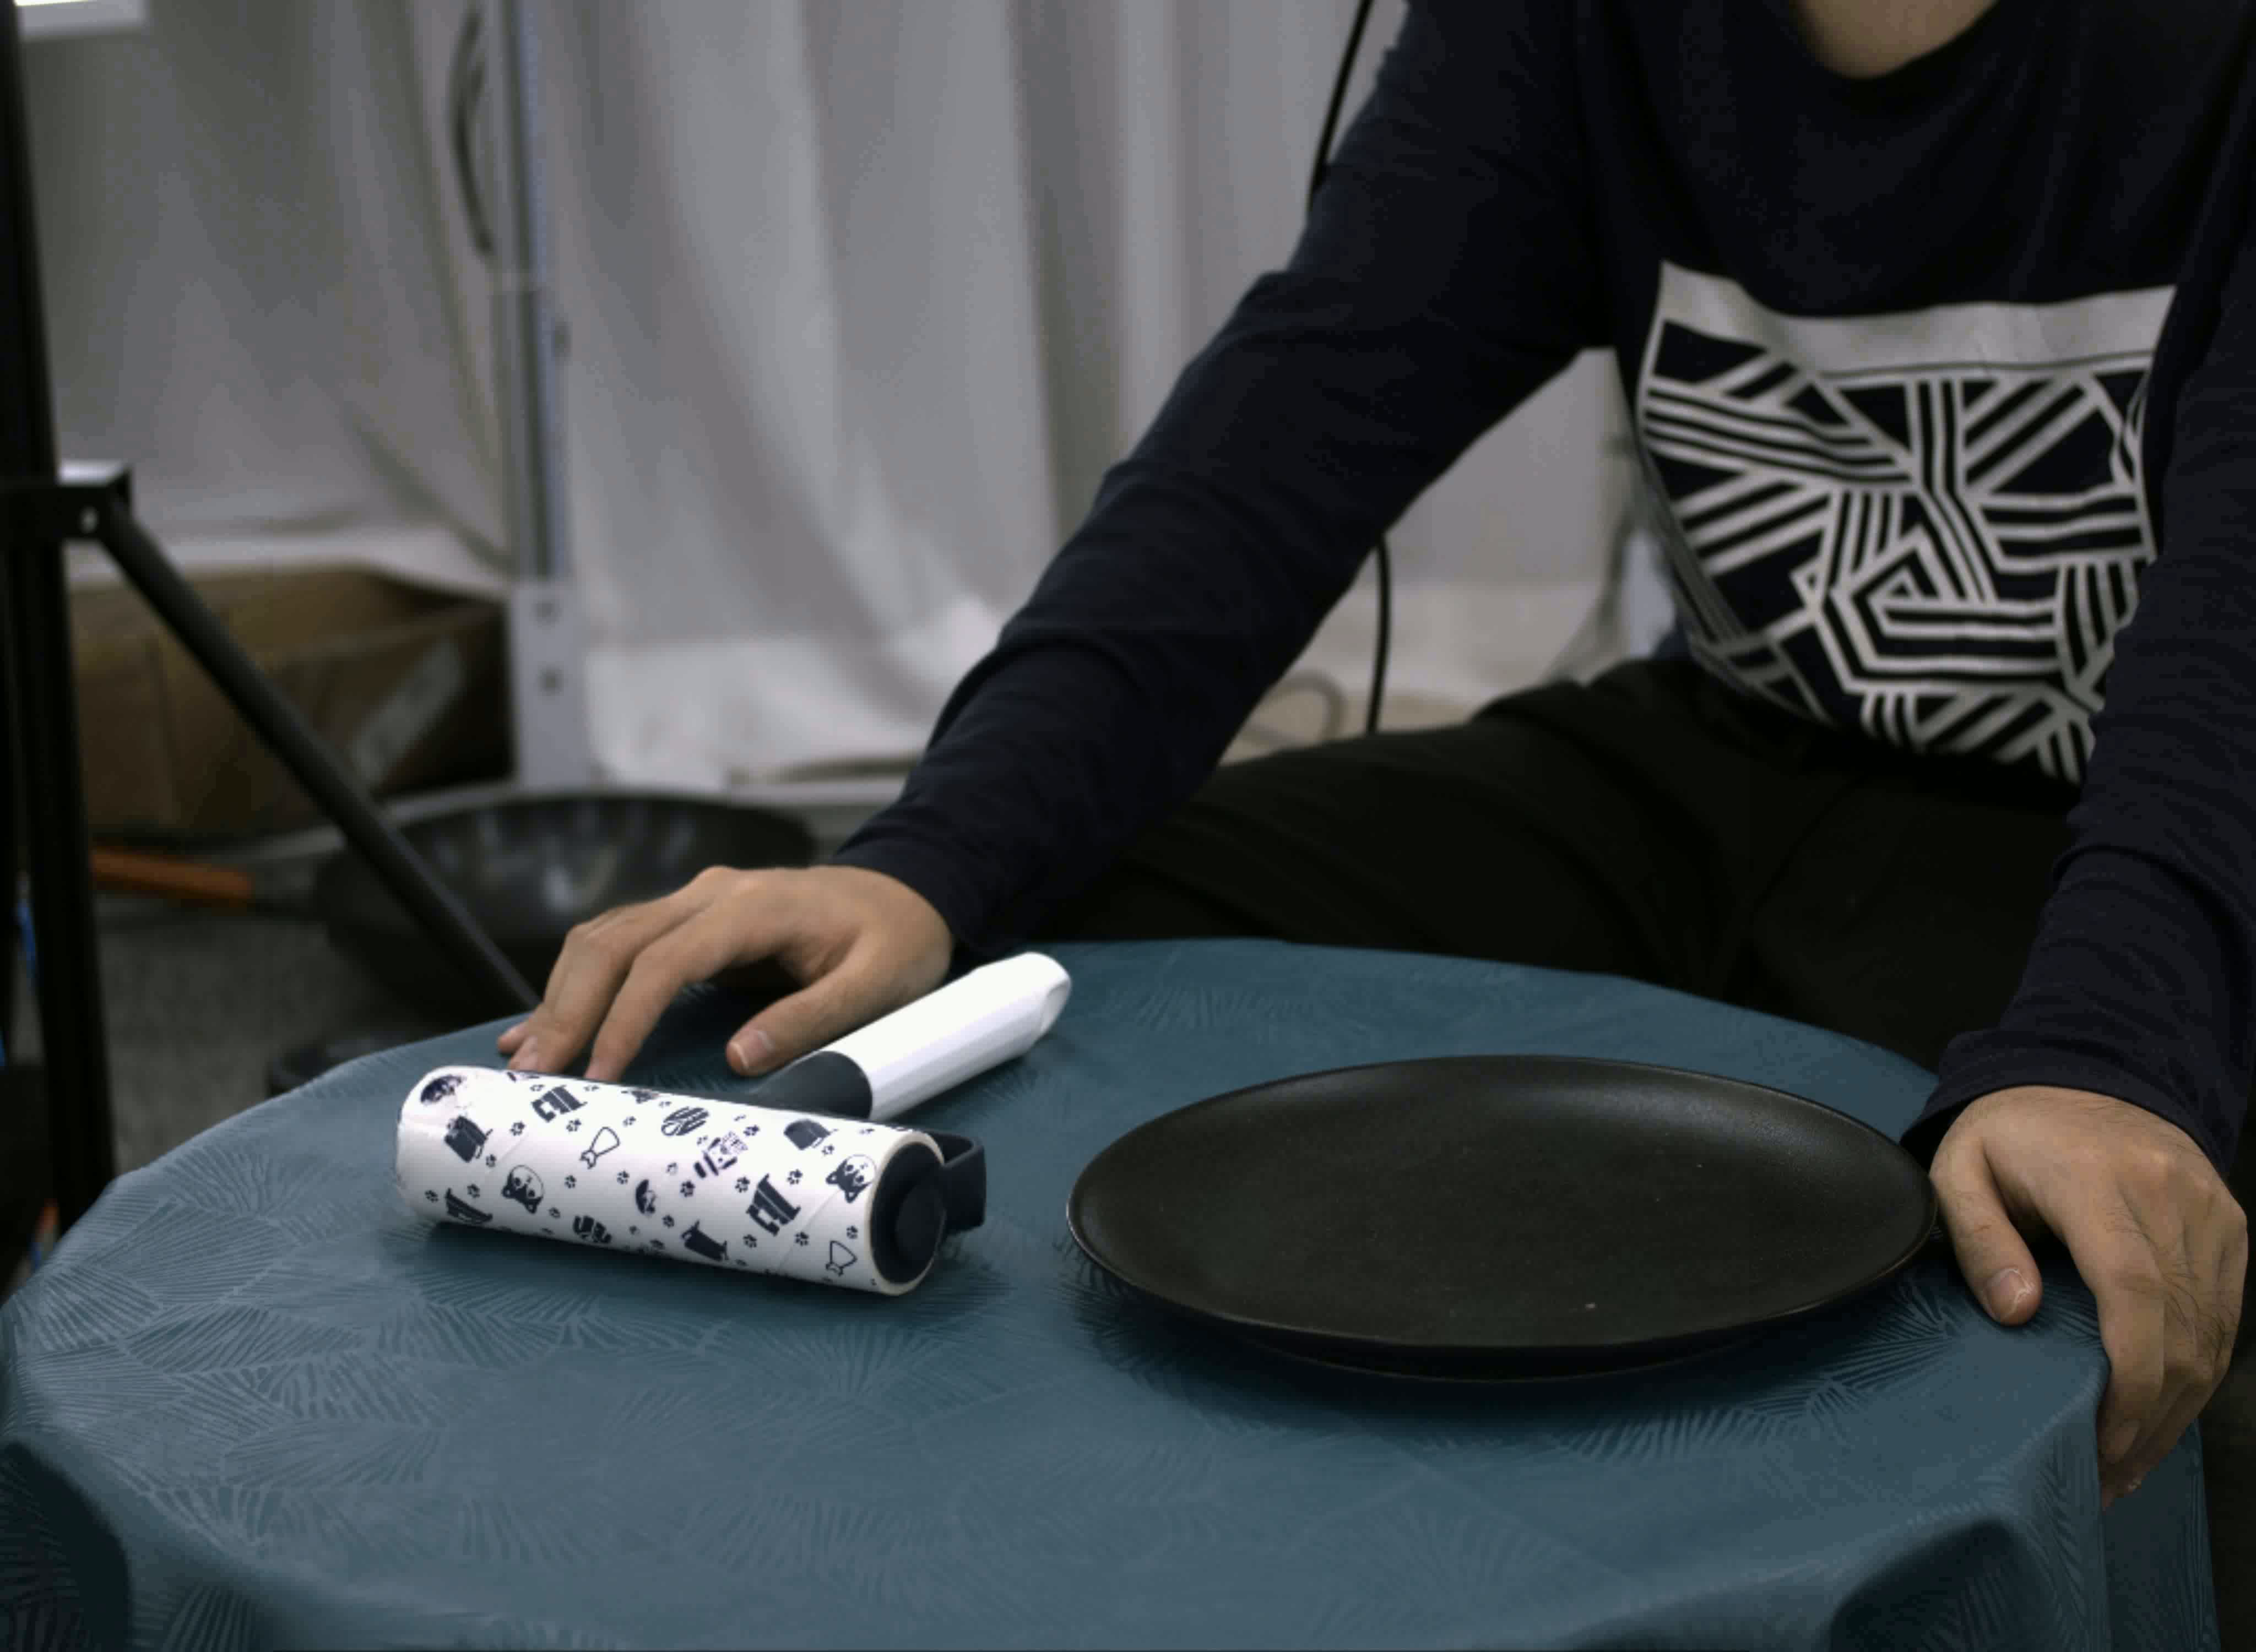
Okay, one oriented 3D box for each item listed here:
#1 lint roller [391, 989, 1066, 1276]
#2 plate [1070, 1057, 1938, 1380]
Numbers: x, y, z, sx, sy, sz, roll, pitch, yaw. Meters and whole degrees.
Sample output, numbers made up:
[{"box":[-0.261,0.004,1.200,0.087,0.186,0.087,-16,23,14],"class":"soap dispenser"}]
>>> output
[{"box":[-0.086,0.078,1.611,0.179,0.050,0.242,5,14,28],"class":"lint roller"},{"box":[0.105,0.113,1.488,0.243,0.023,0.245,-3,16,-1],"class":"plate"}]
